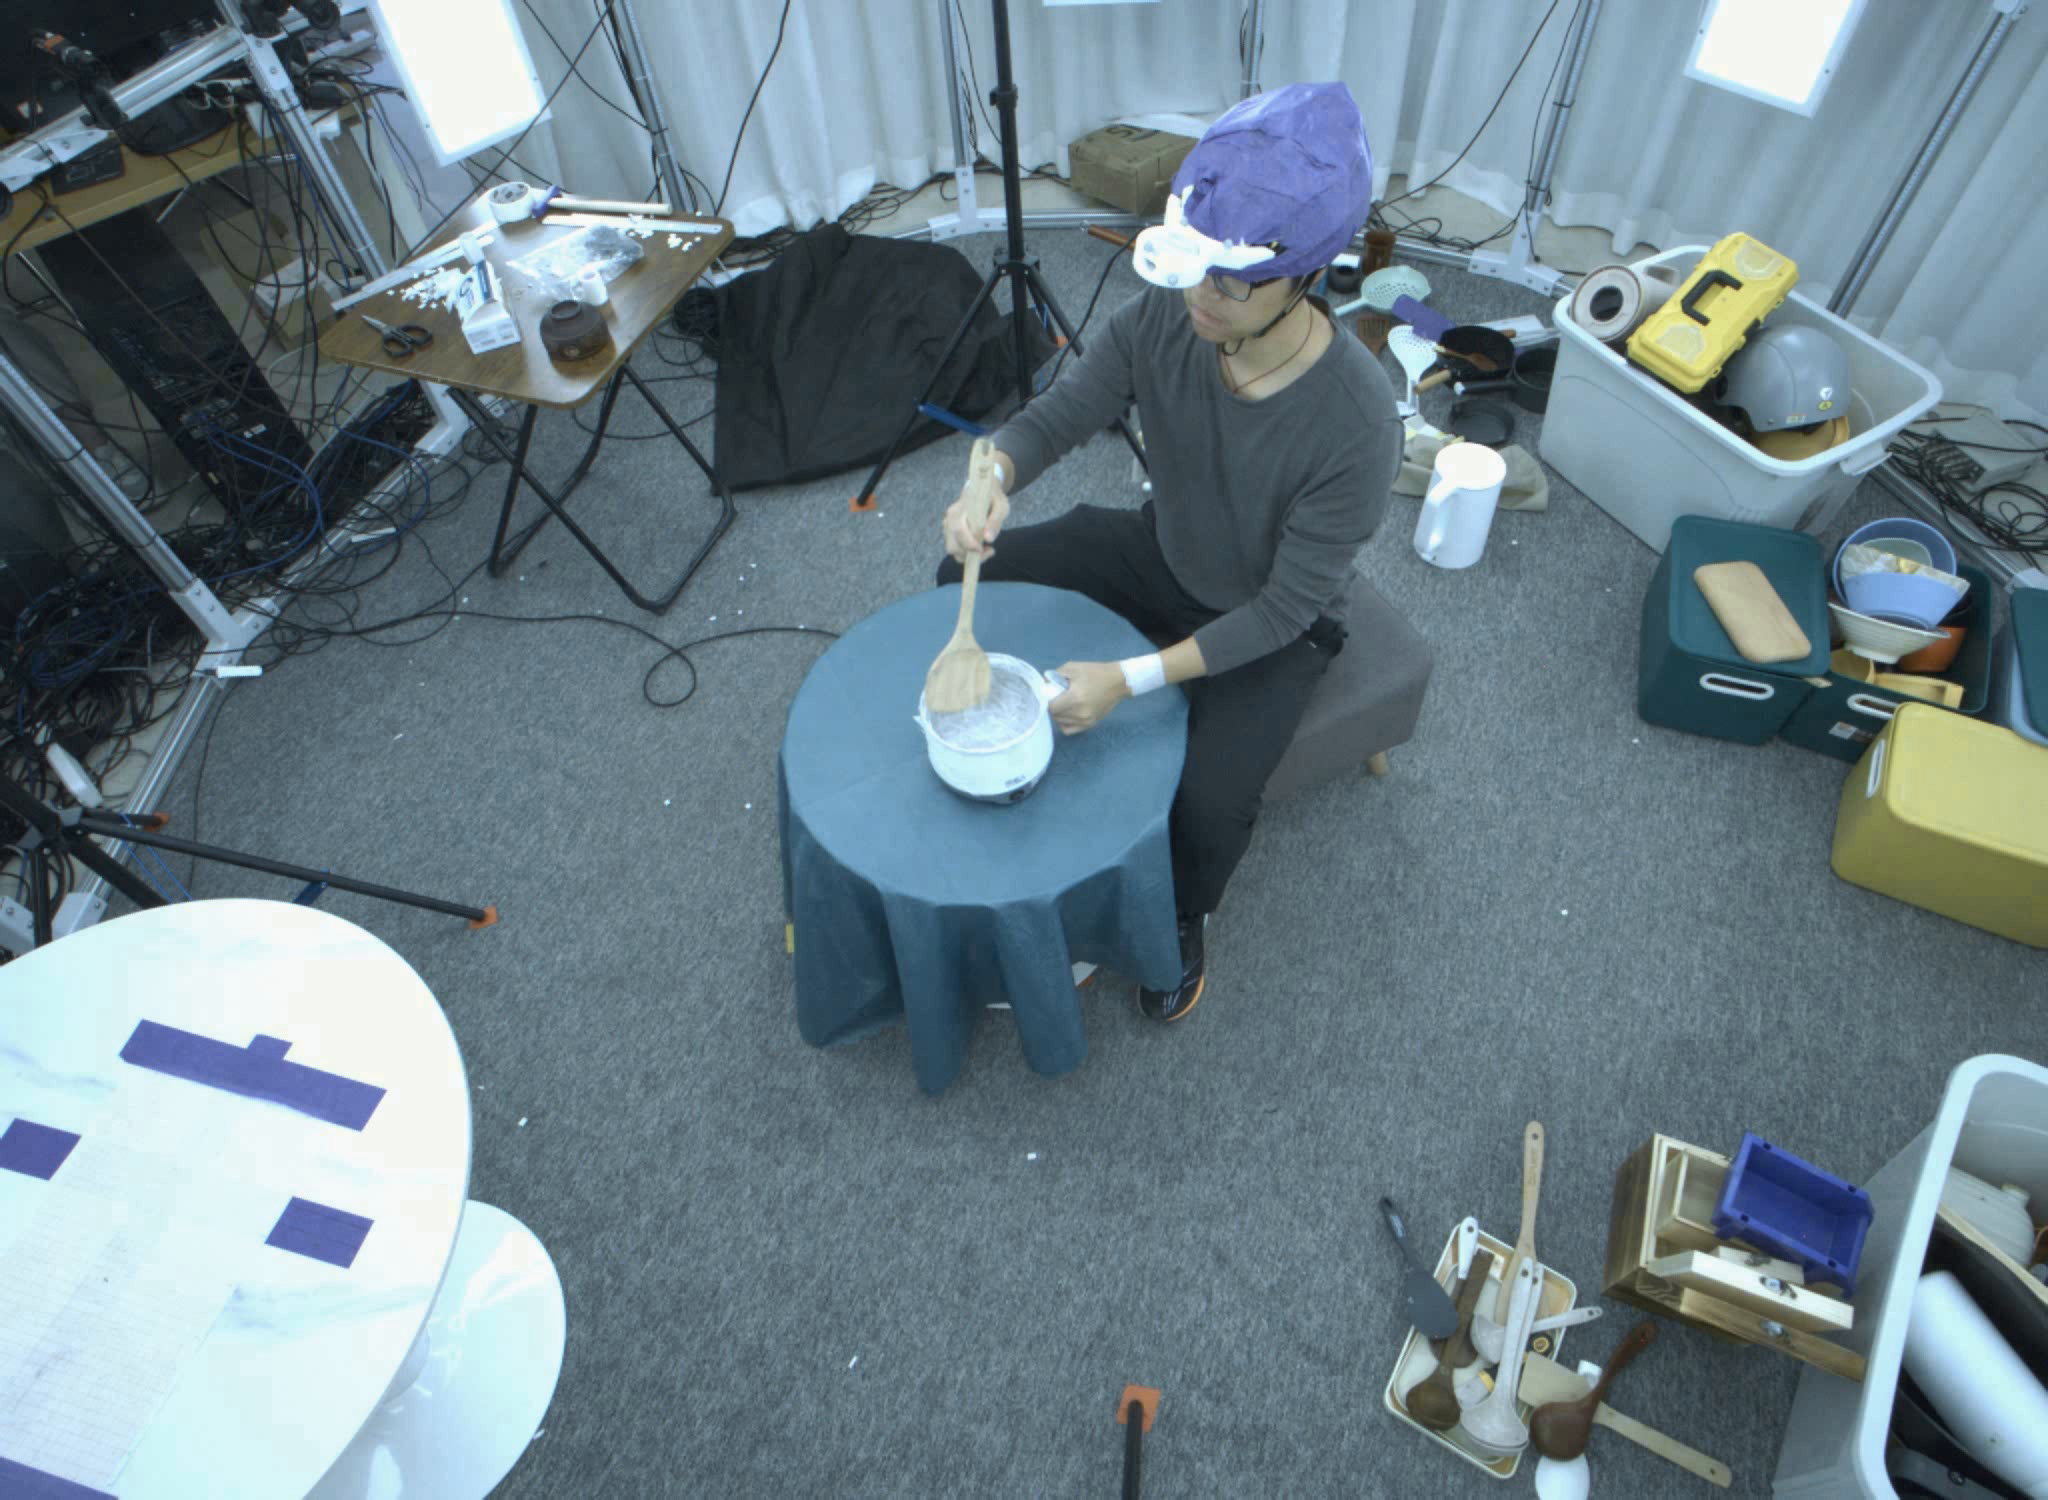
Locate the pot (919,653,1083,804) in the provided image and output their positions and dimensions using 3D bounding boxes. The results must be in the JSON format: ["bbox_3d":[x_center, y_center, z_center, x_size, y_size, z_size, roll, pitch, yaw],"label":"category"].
[{"bbox_3d":[-0.027,-0.039,1.737,0.235,0.138,0.175,-24,56,-14],"label":"pot"}]

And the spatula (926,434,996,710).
[{"bbox_3d":[-0.071,-0.214,1.542,0.097,0.393,0.018,-14,42,-26],"label":"spatula"}]
